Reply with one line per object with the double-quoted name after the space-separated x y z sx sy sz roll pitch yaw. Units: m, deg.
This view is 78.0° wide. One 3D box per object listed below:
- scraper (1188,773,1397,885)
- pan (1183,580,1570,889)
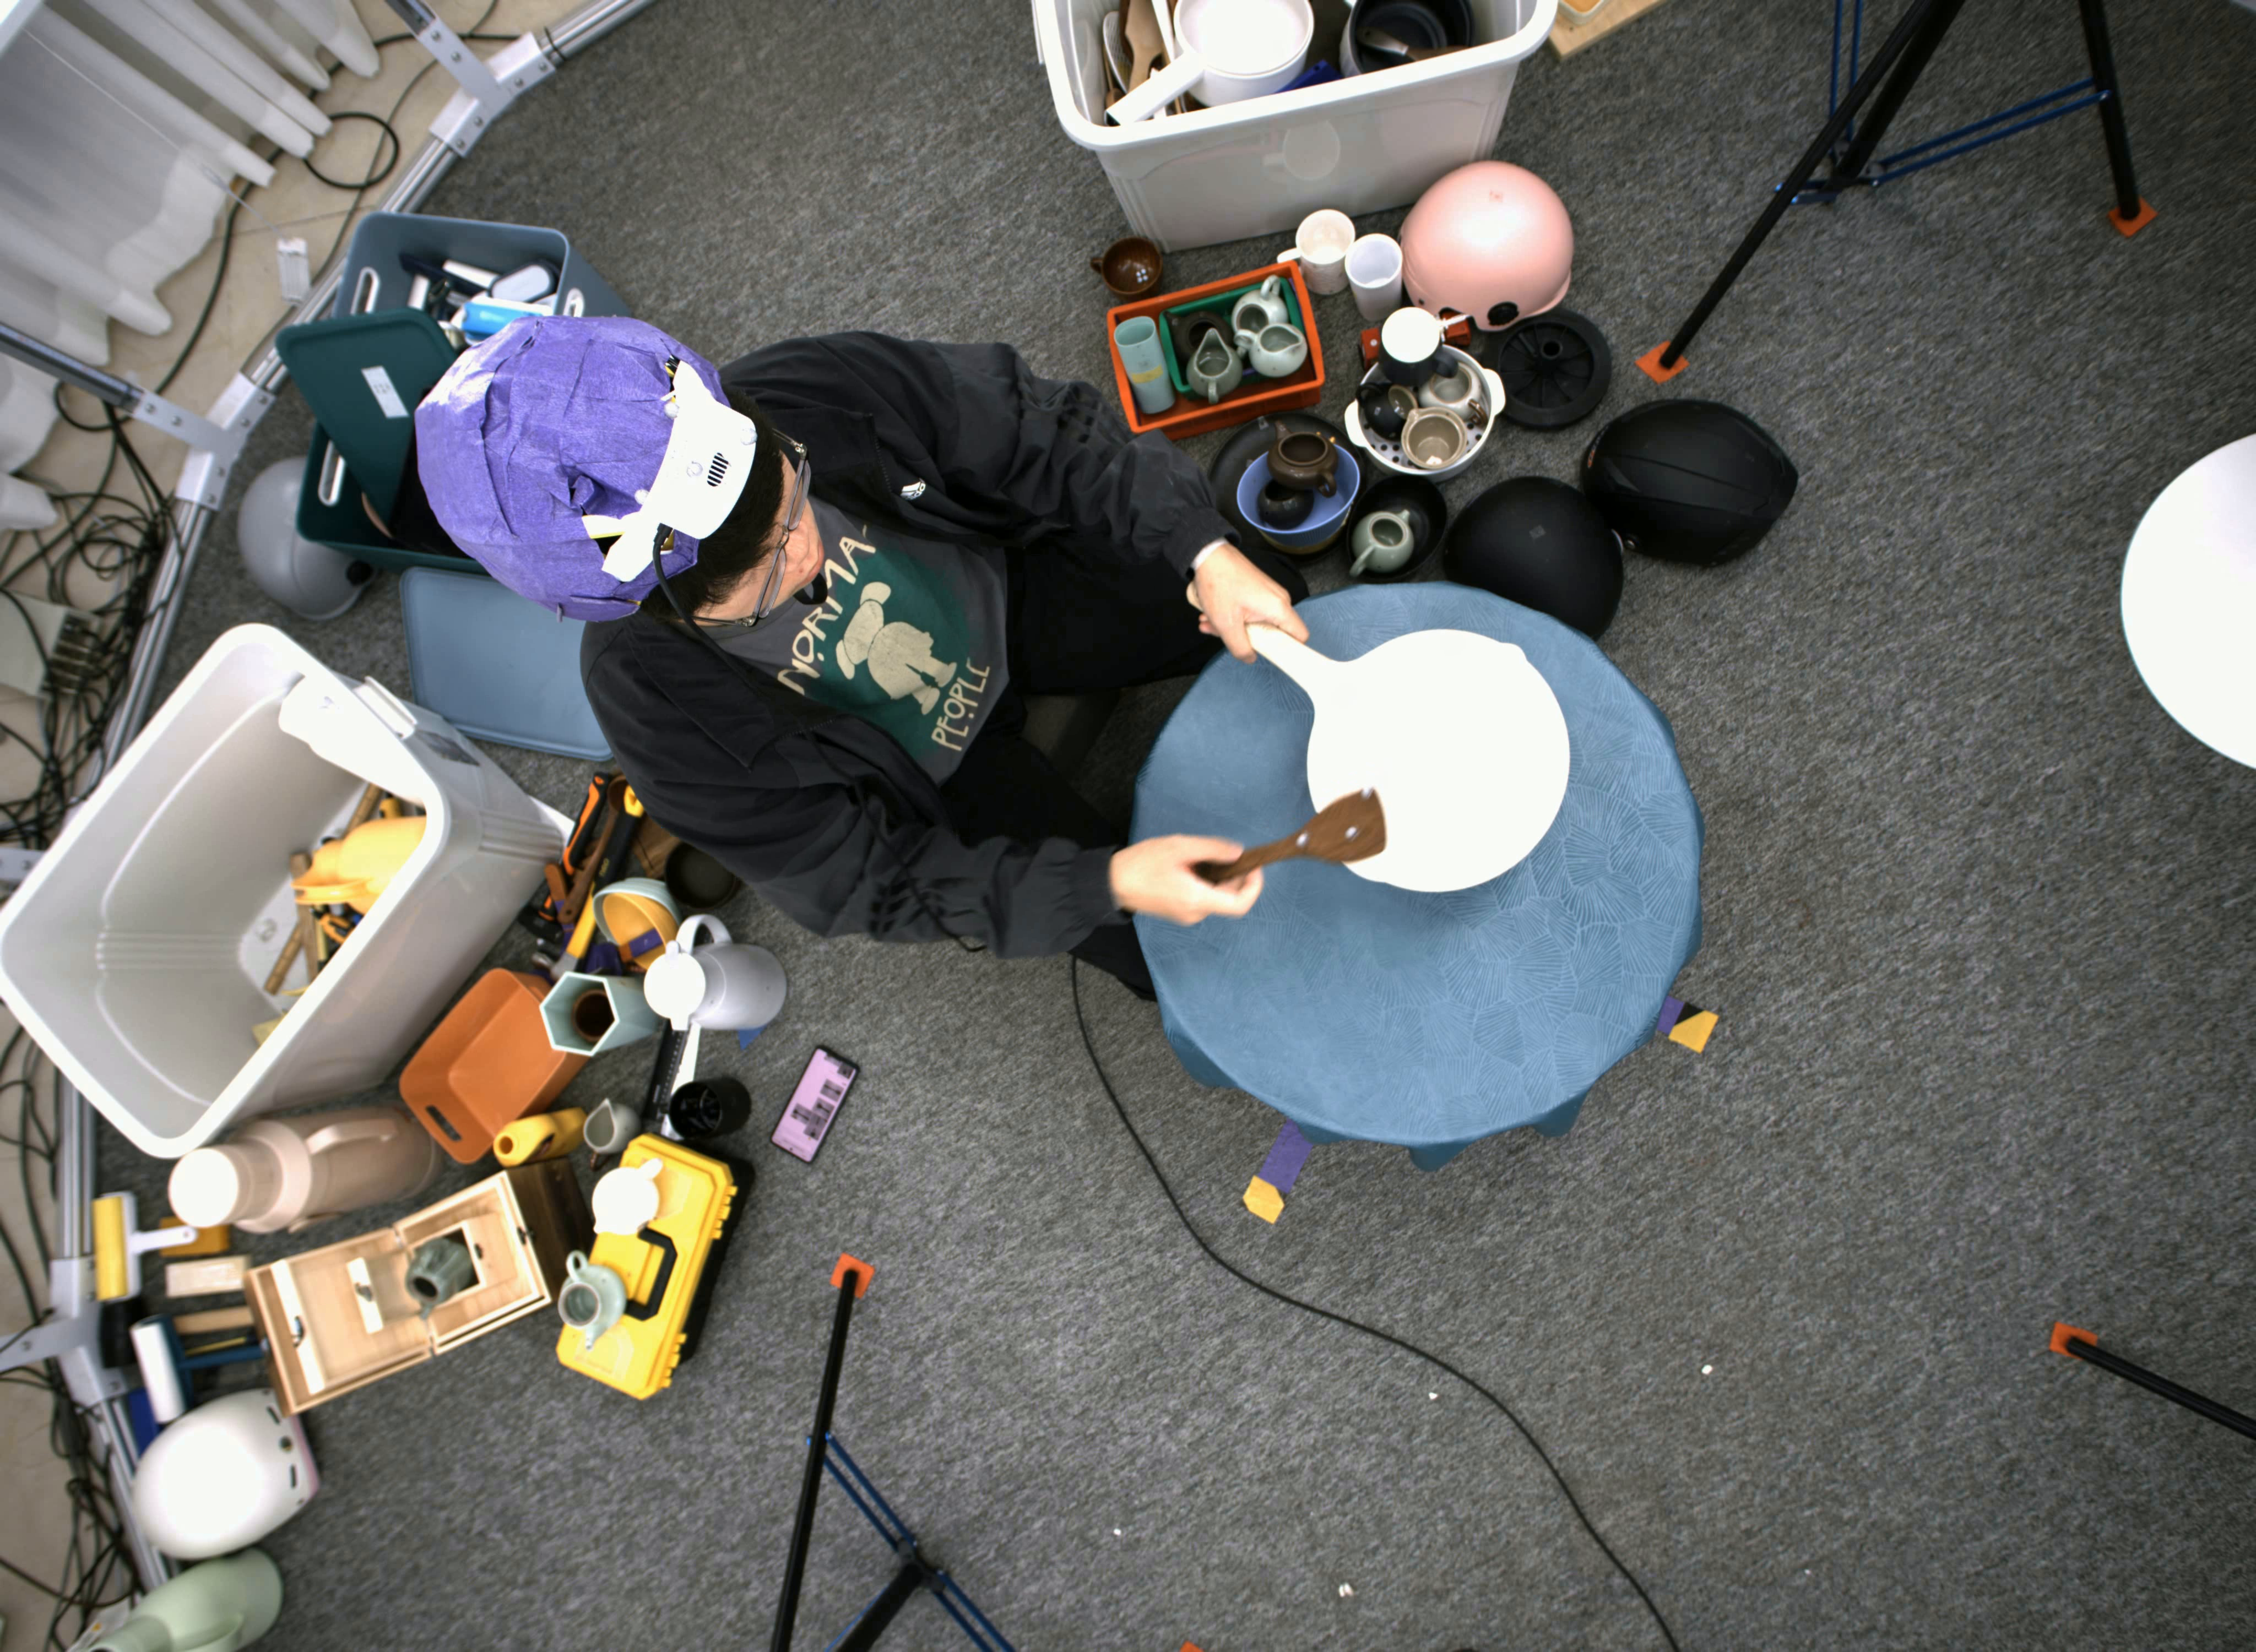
0.151 0.013 1.299 0.214 0.011 0.074 -19 65 24 "scraper"
0.239 -0.119 1.370 0.432 0.101 0.266 39 106 21 "pan"
